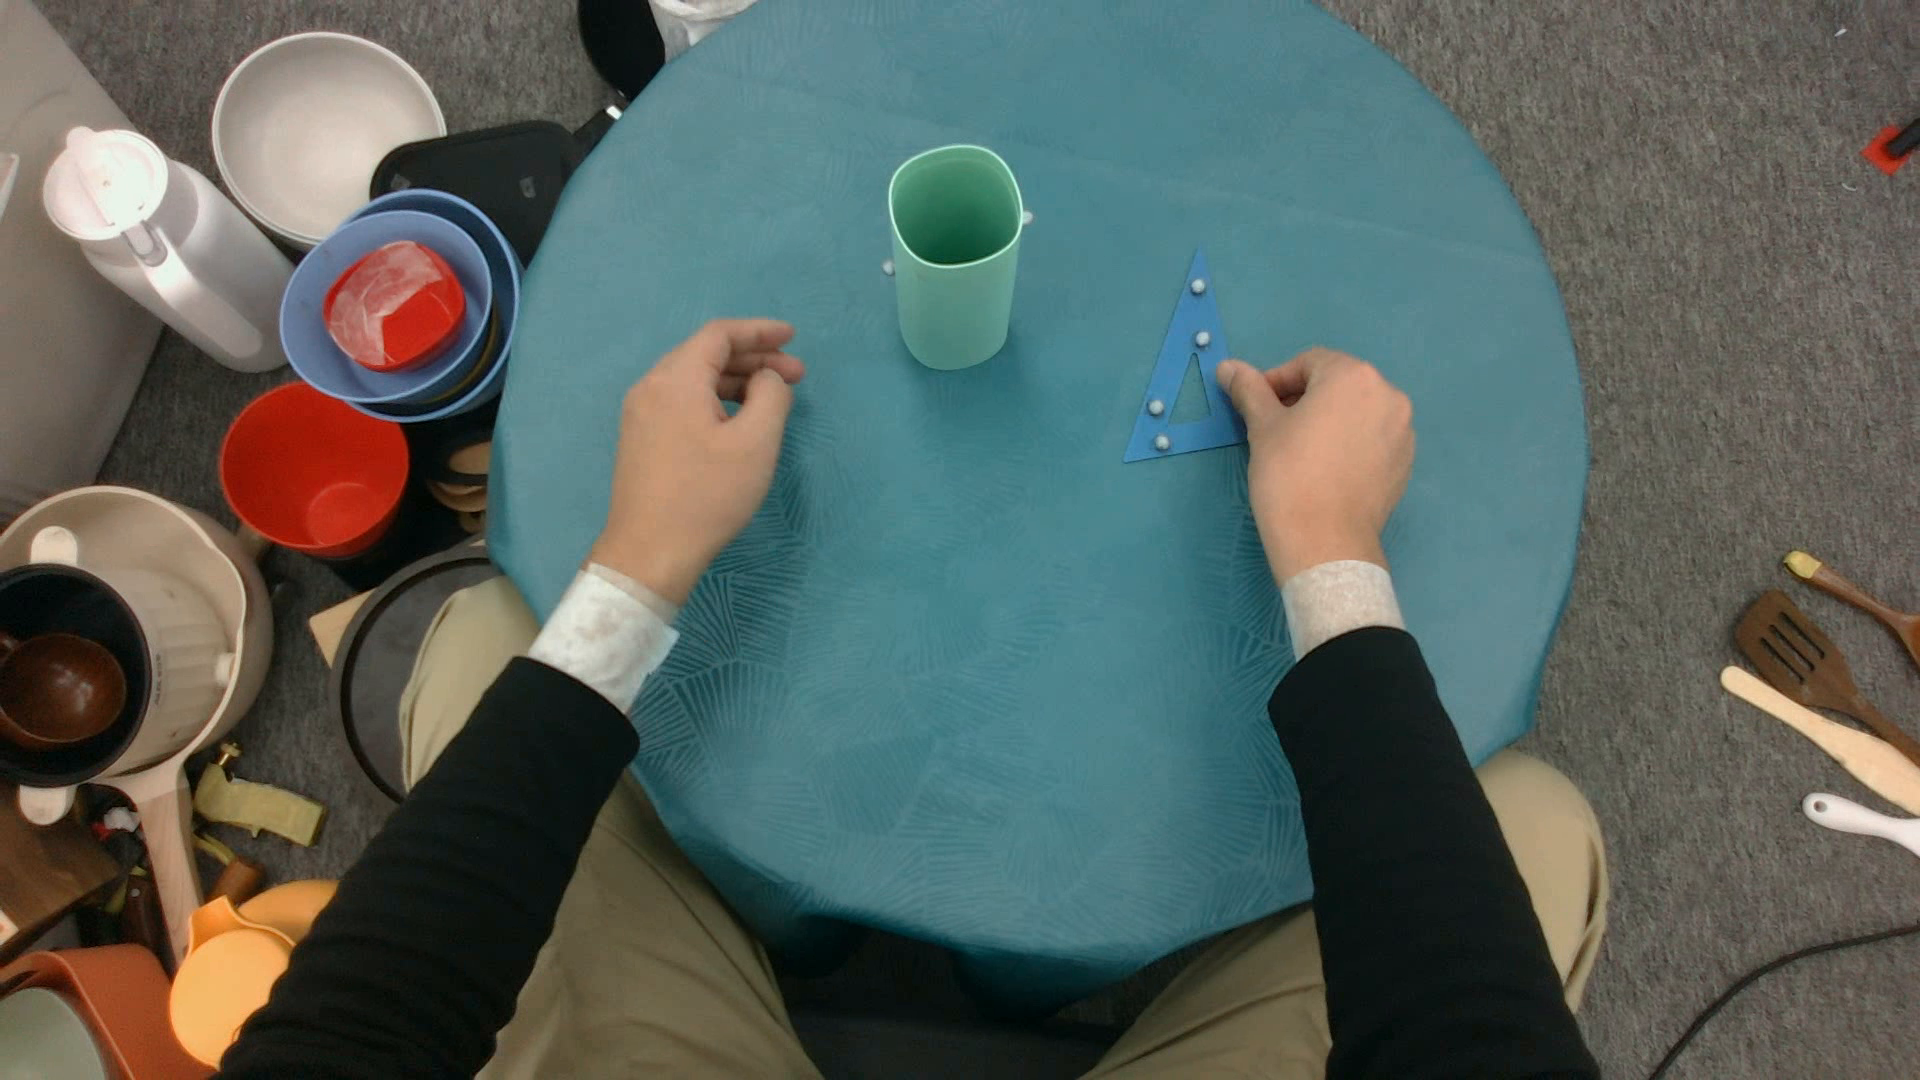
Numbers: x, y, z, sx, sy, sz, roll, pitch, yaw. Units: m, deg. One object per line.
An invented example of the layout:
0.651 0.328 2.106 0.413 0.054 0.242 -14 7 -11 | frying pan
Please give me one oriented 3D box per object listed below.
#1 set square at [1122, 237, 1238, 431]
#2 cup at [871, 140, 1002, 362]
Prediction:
0.141 -0.109 0.774 0.061 0.006 0.132 23 75 5 | set square
-0.013 -0.145 0.718 0.067 0.132 0.067 1 75 -2 | cup
